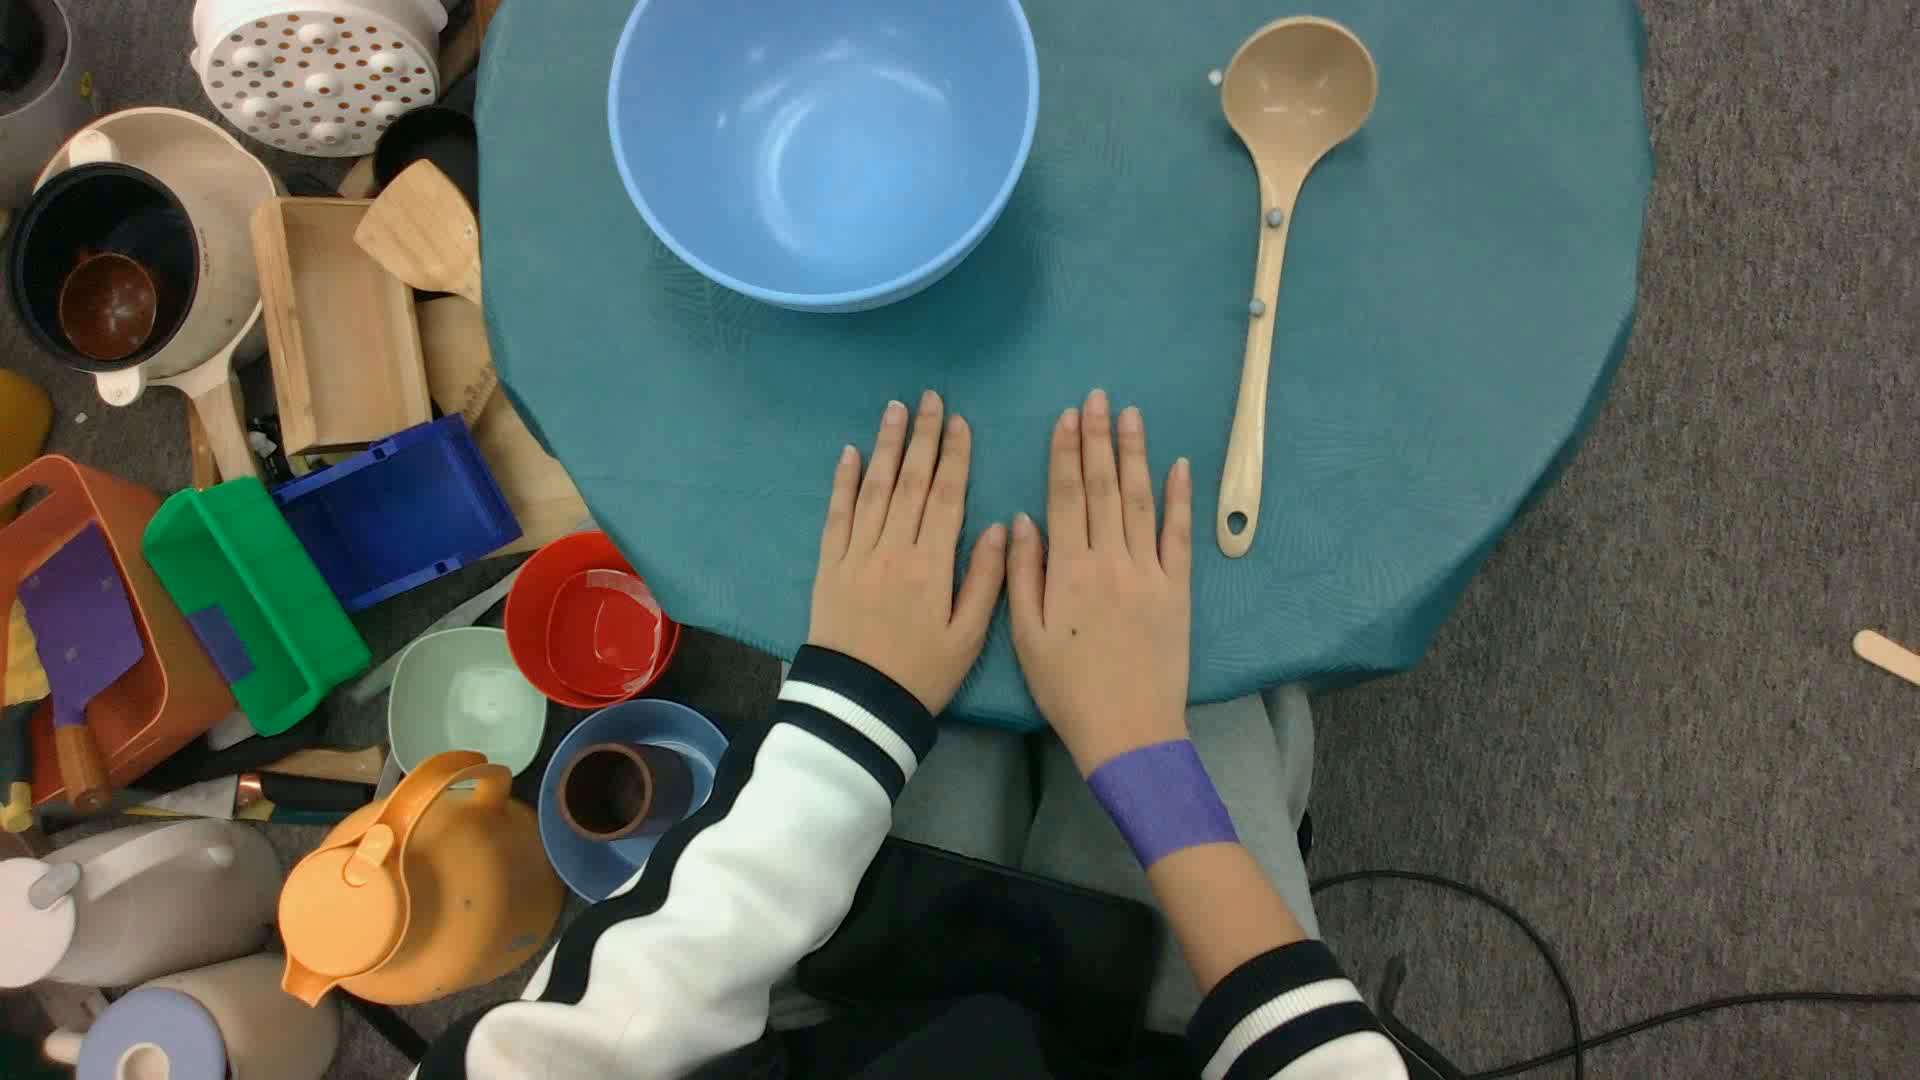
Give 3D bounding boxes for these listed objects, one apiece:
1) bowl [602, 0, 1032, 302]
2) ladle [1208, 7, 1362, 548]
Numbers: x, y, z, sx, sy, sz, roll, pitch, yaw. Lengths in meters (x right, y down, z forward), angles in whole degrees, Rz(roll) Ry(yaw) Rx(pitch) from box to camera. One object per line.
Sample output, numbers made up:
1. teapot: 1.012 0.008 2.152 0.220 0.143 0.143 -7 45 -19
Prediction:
1. bowl: -0.064 -0.200 0.671 0.196 0.095 0.197 0 81 2
2. ladle: 0.146 -0.126 0.653 0.072 0.073 0.255 6 81 5
